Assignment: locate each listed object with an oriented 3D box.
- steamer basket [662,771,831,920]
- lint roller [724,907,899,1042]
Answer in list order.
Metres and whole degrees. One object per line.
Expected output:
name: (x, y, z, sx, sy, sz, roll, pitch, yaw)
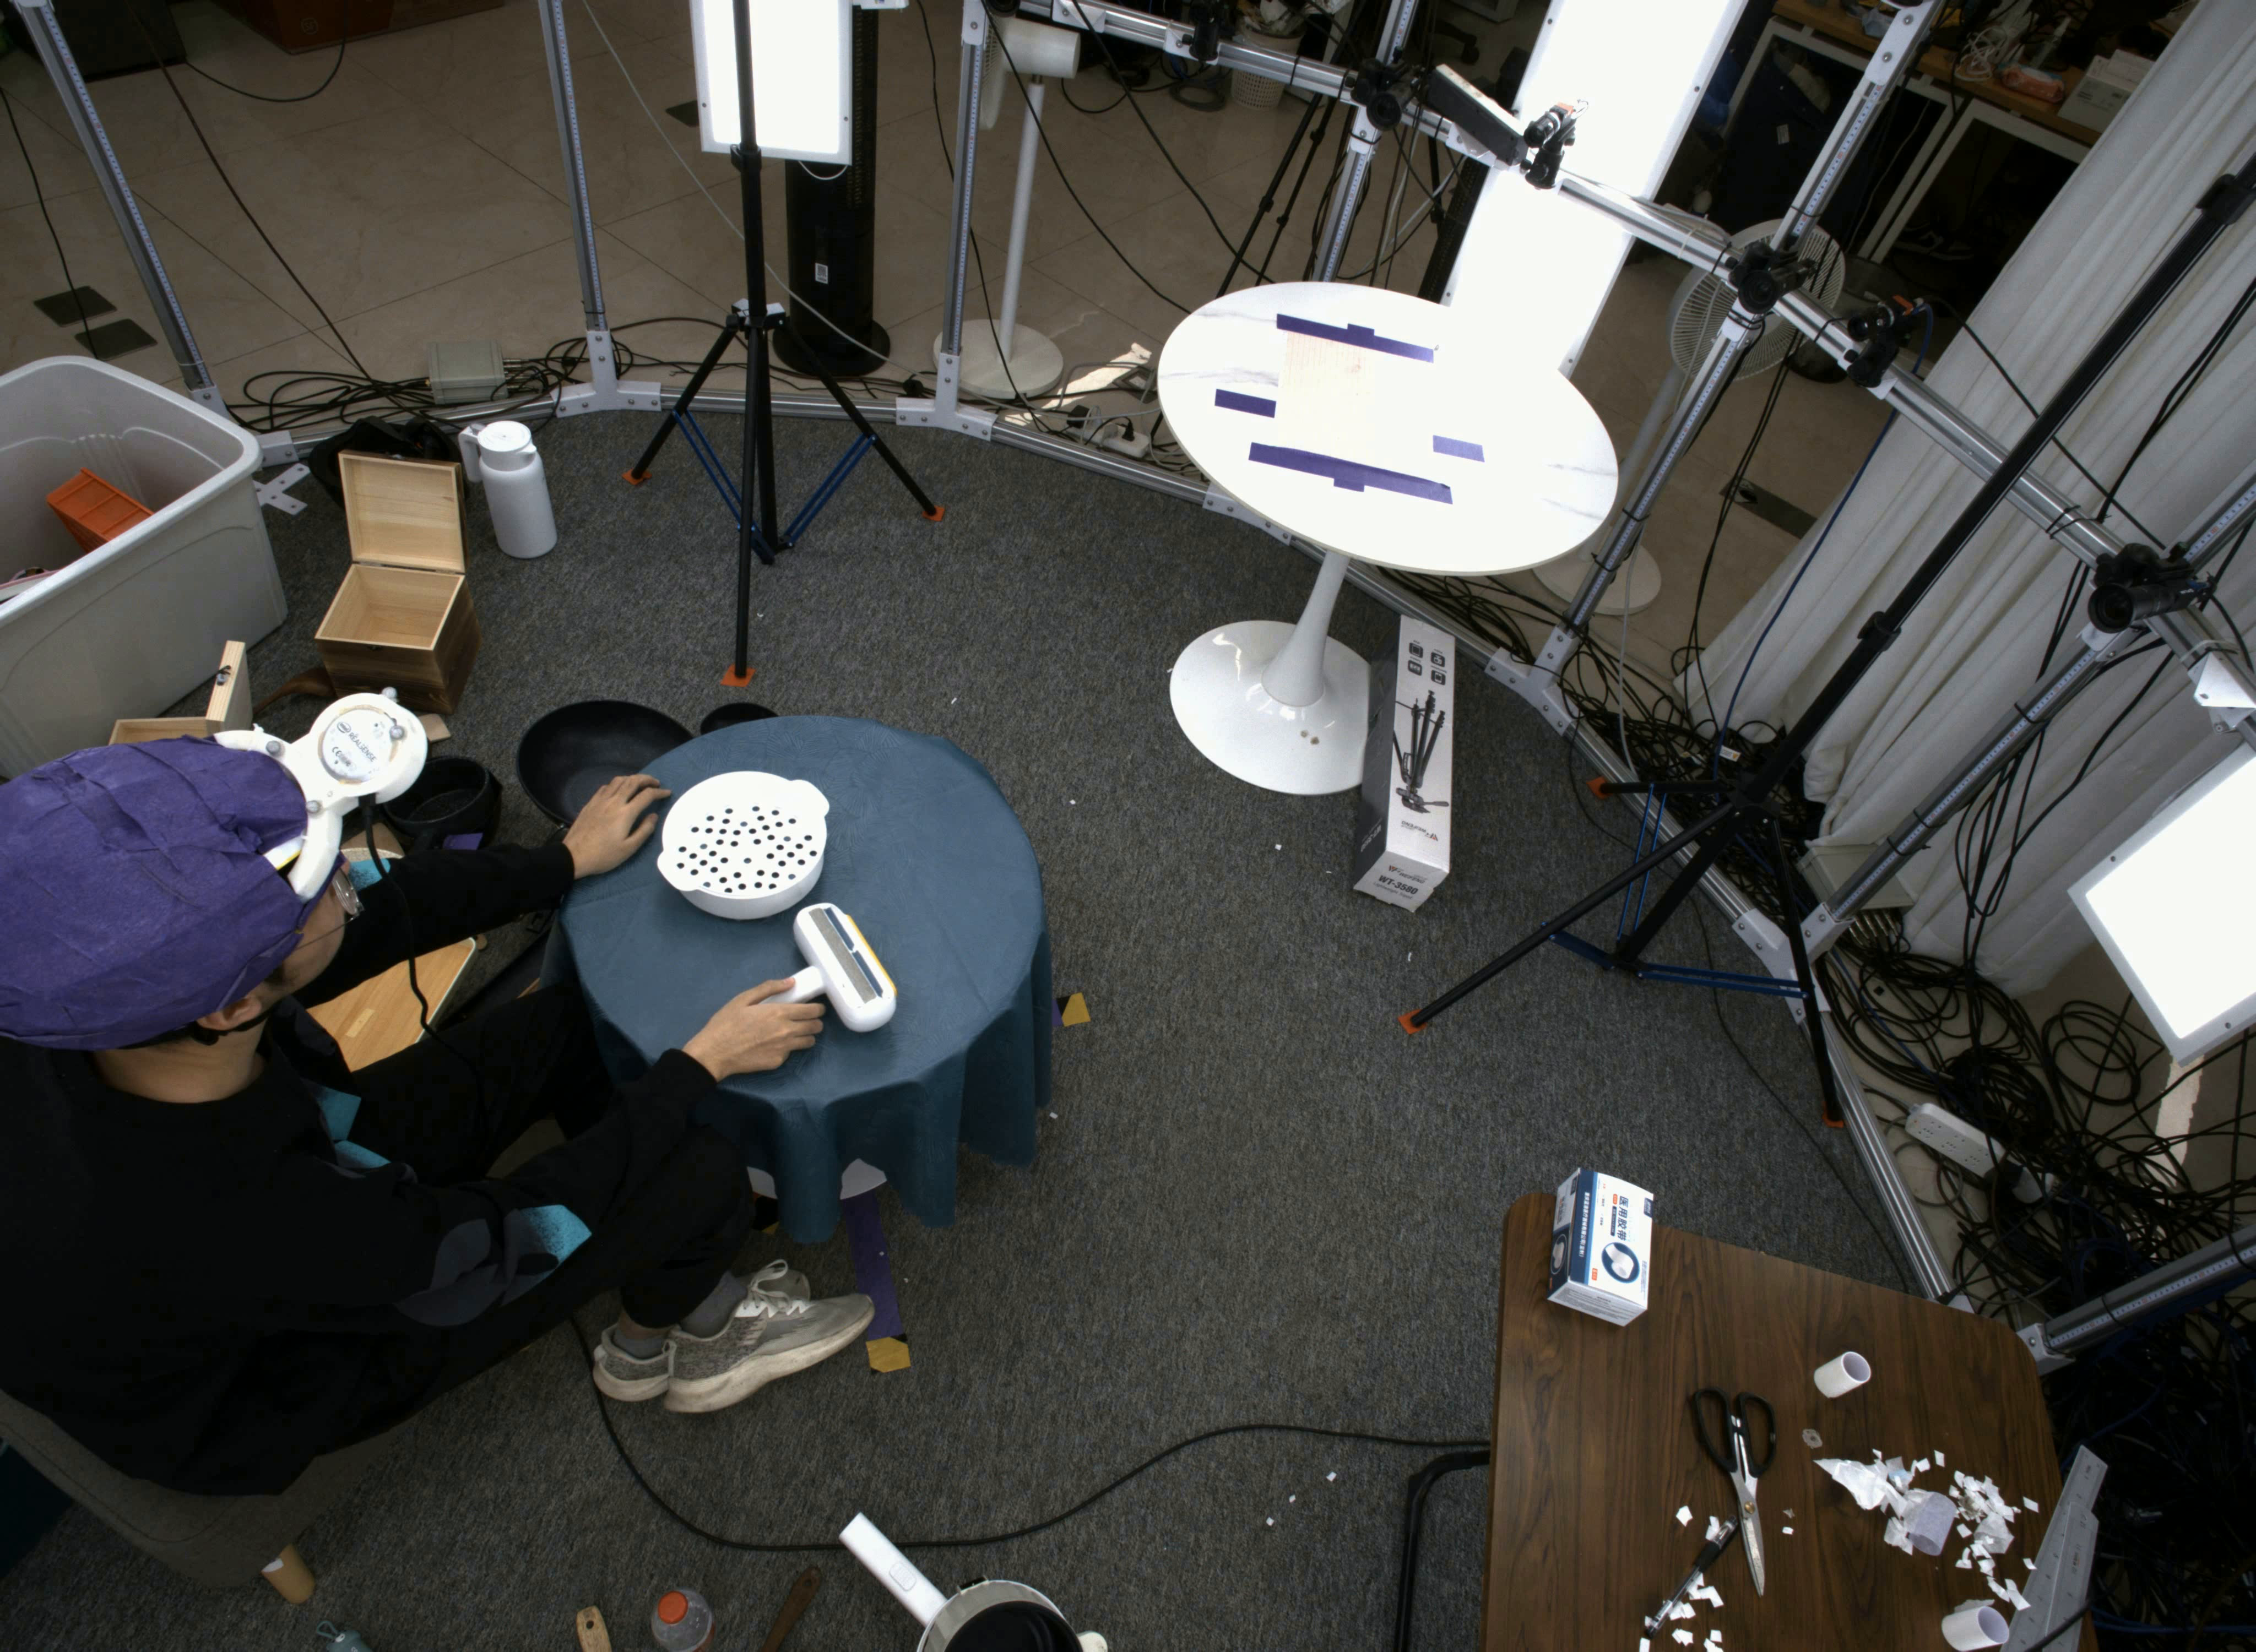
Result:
steamer basket: (-0.483, 0.025, 1.656, 0.231, 0.071, 0.197, -36, 68, -30)
lint roller: (-0.391, 0.196, 1.550, 0.193, 0.076, 0.187, -19, 55, -24)
